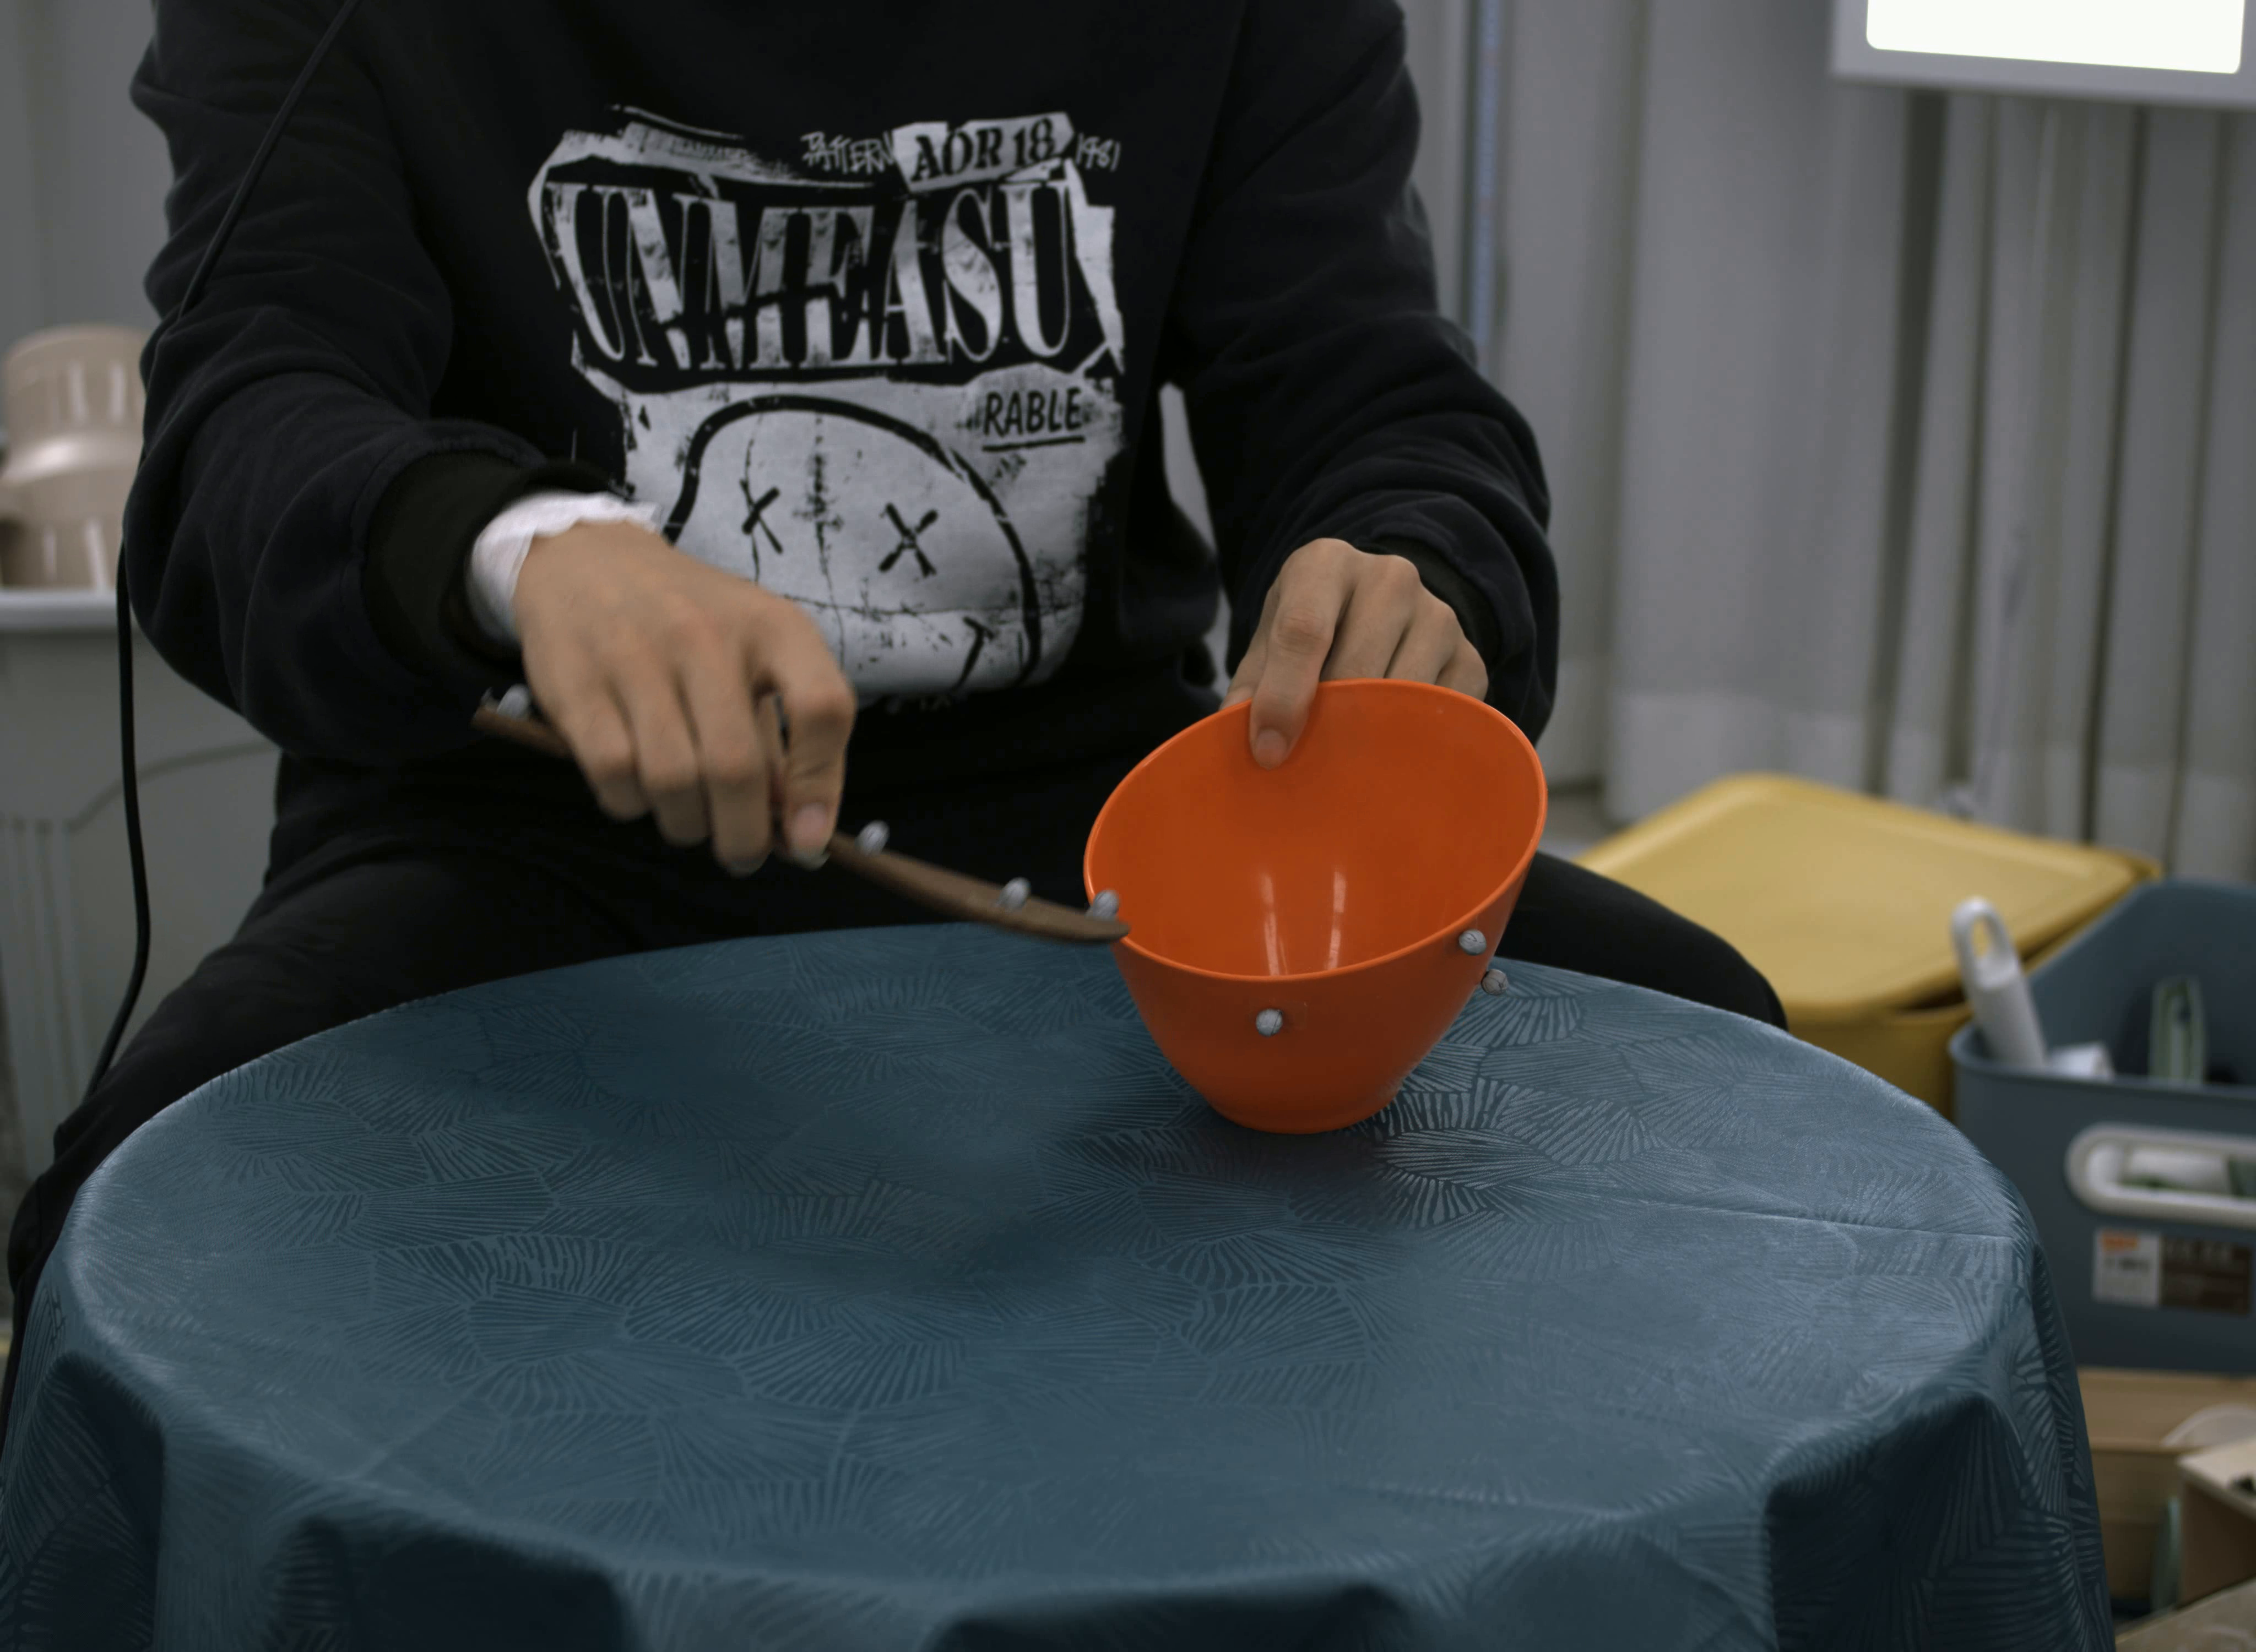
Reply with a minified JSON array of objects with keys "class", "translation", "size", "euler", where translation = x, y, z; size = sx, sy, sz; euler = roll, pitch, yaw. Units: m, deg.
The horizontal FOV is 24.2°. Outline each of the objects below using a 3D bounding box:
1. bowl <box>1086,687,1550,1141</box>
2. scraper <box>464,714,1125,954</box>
[{"class":"bowl","translation":[0.062,0.036,1.682],"size":[0.147,0.106,0.147],"euler":[-2,33,2]},{"class":"scraper","translation":[-0.102,0.003,1.585],"size":[0.210,0.011,0.076],"euler":[20,6,7]}]
